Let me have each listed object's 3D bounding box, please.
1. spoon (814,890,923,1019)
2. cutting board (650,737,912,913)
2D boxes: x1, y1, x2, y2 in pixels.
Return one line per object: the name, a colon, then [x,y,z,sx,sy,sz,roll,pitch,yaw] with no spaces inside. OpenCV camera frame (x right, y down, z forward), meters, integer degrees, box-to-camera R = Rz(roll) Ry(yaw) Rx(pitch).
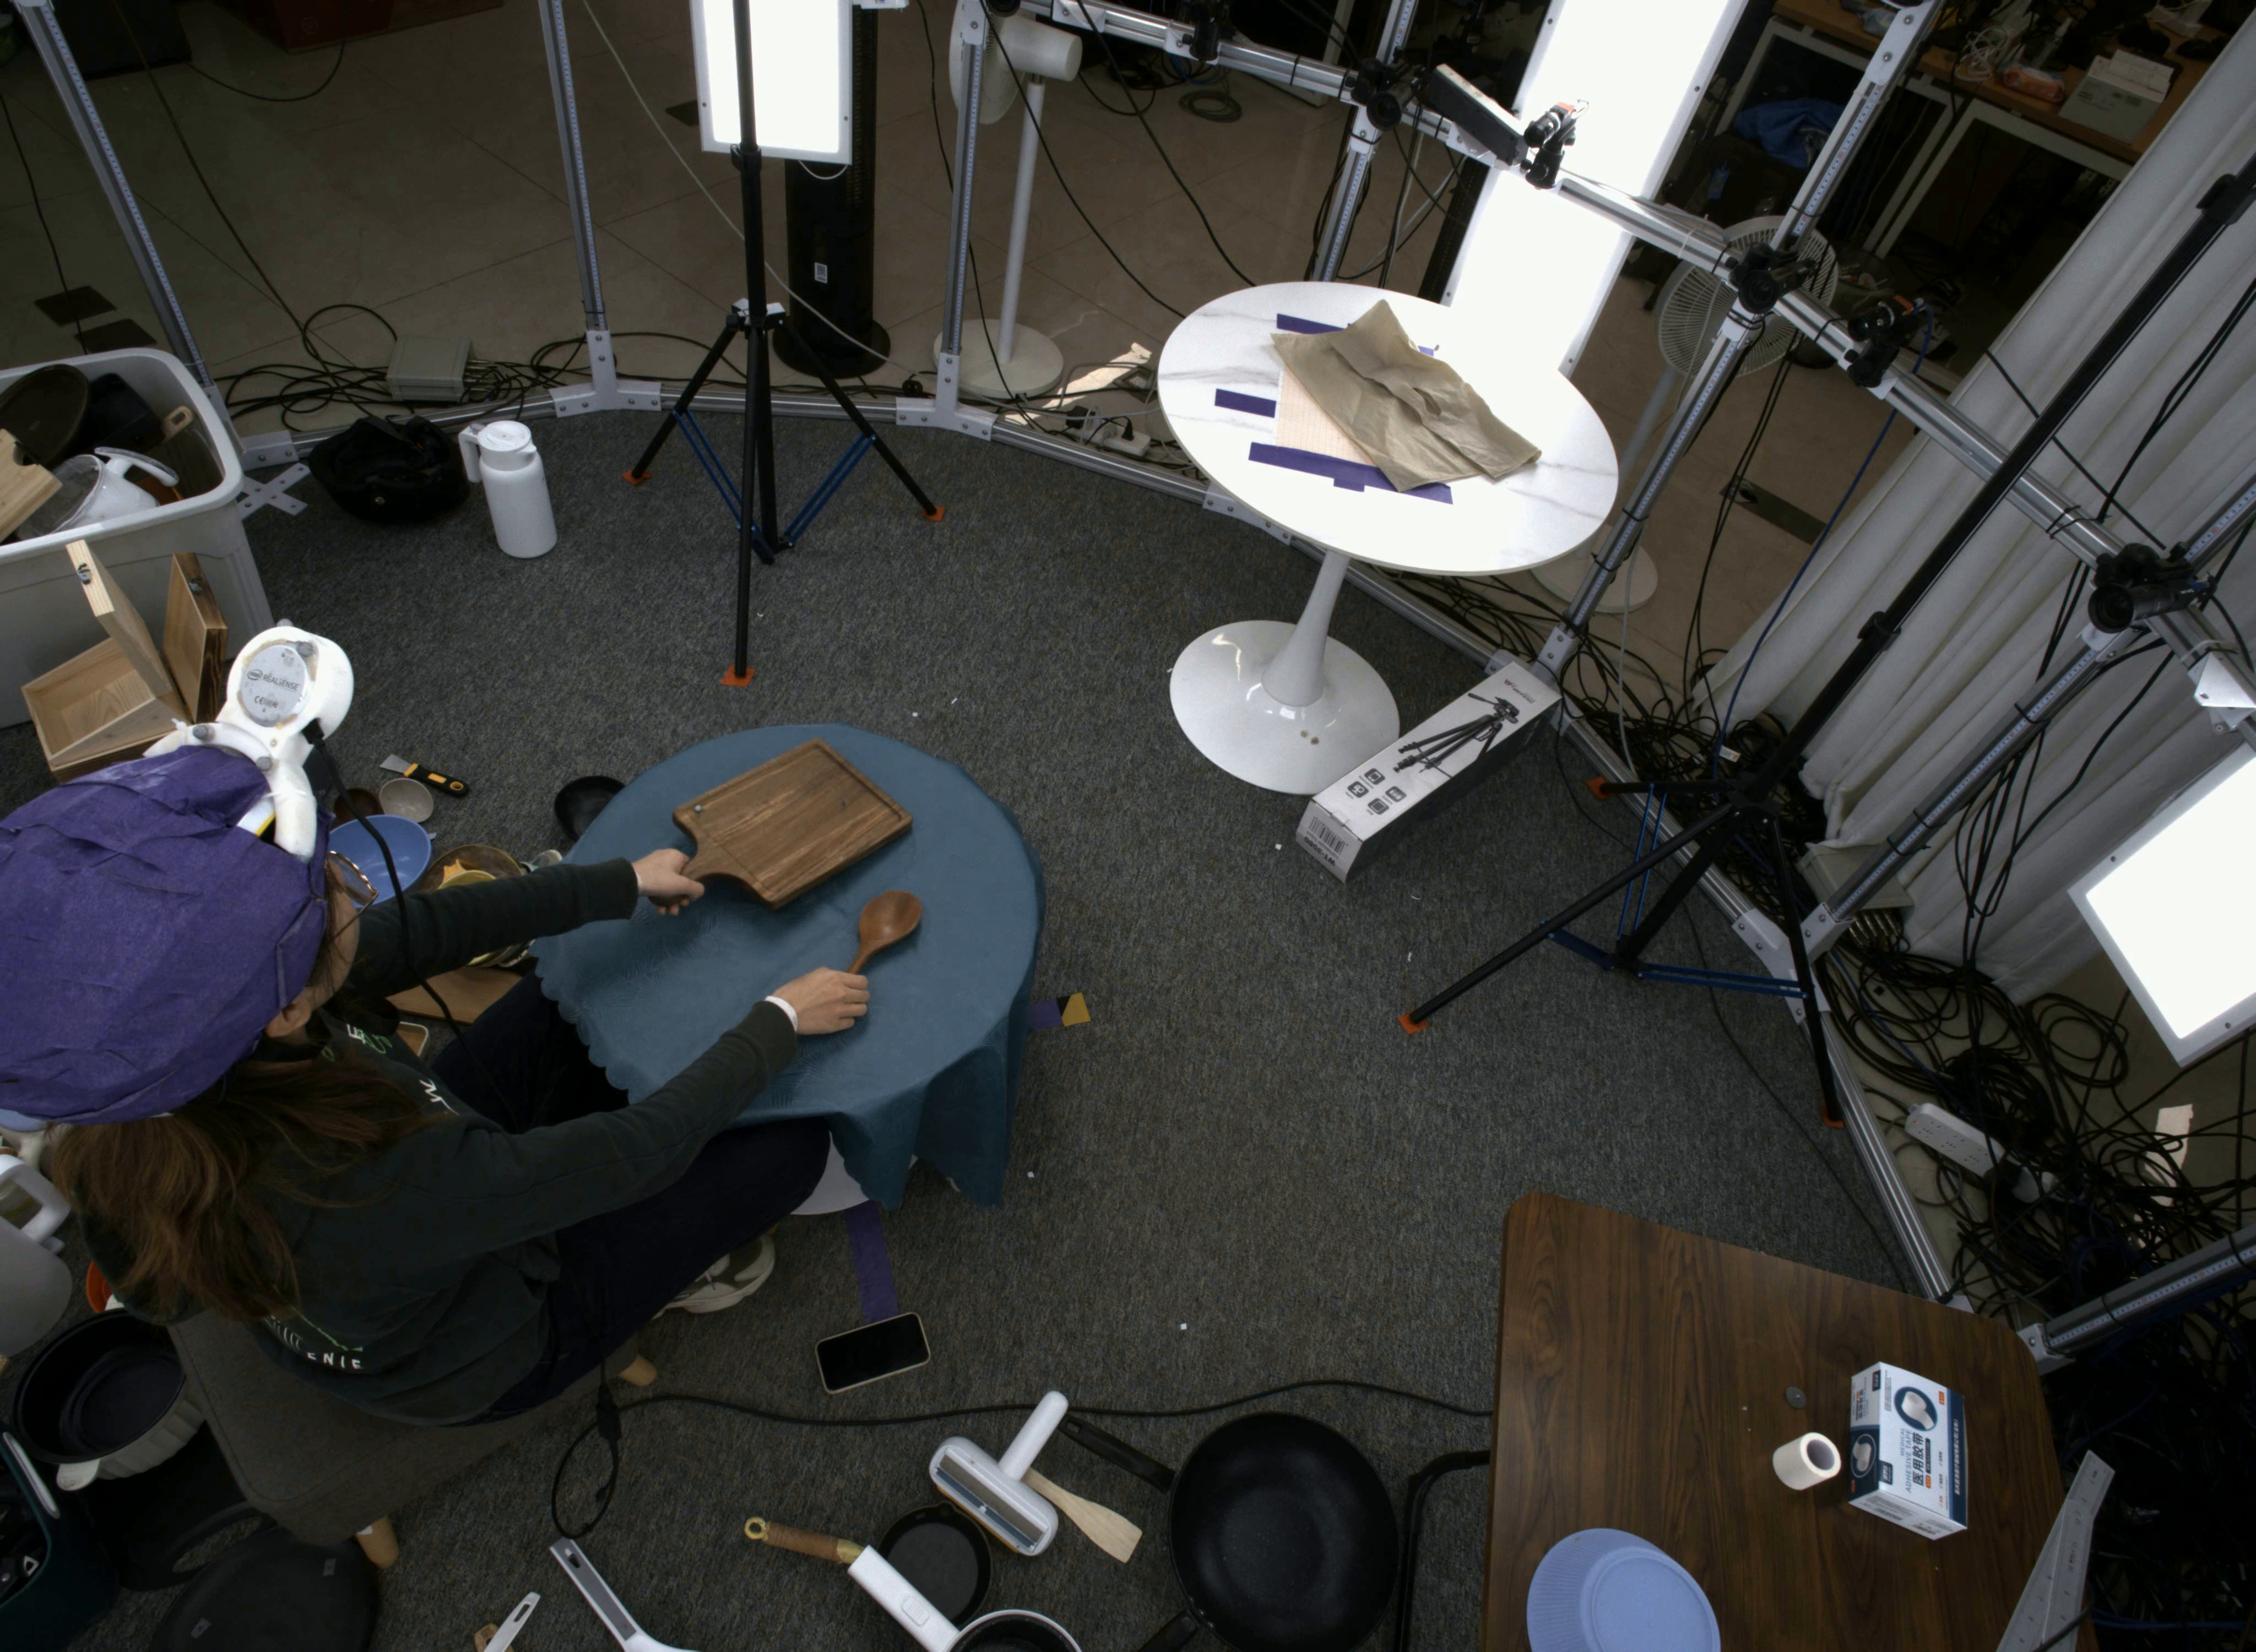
spoon: [-0.327,0.156,1.618,0.074,0.018,0.214,23,47,9]
cutting board: [-0.467,0.012,1.664,0.197,0.023,0.353,40,46,15]
